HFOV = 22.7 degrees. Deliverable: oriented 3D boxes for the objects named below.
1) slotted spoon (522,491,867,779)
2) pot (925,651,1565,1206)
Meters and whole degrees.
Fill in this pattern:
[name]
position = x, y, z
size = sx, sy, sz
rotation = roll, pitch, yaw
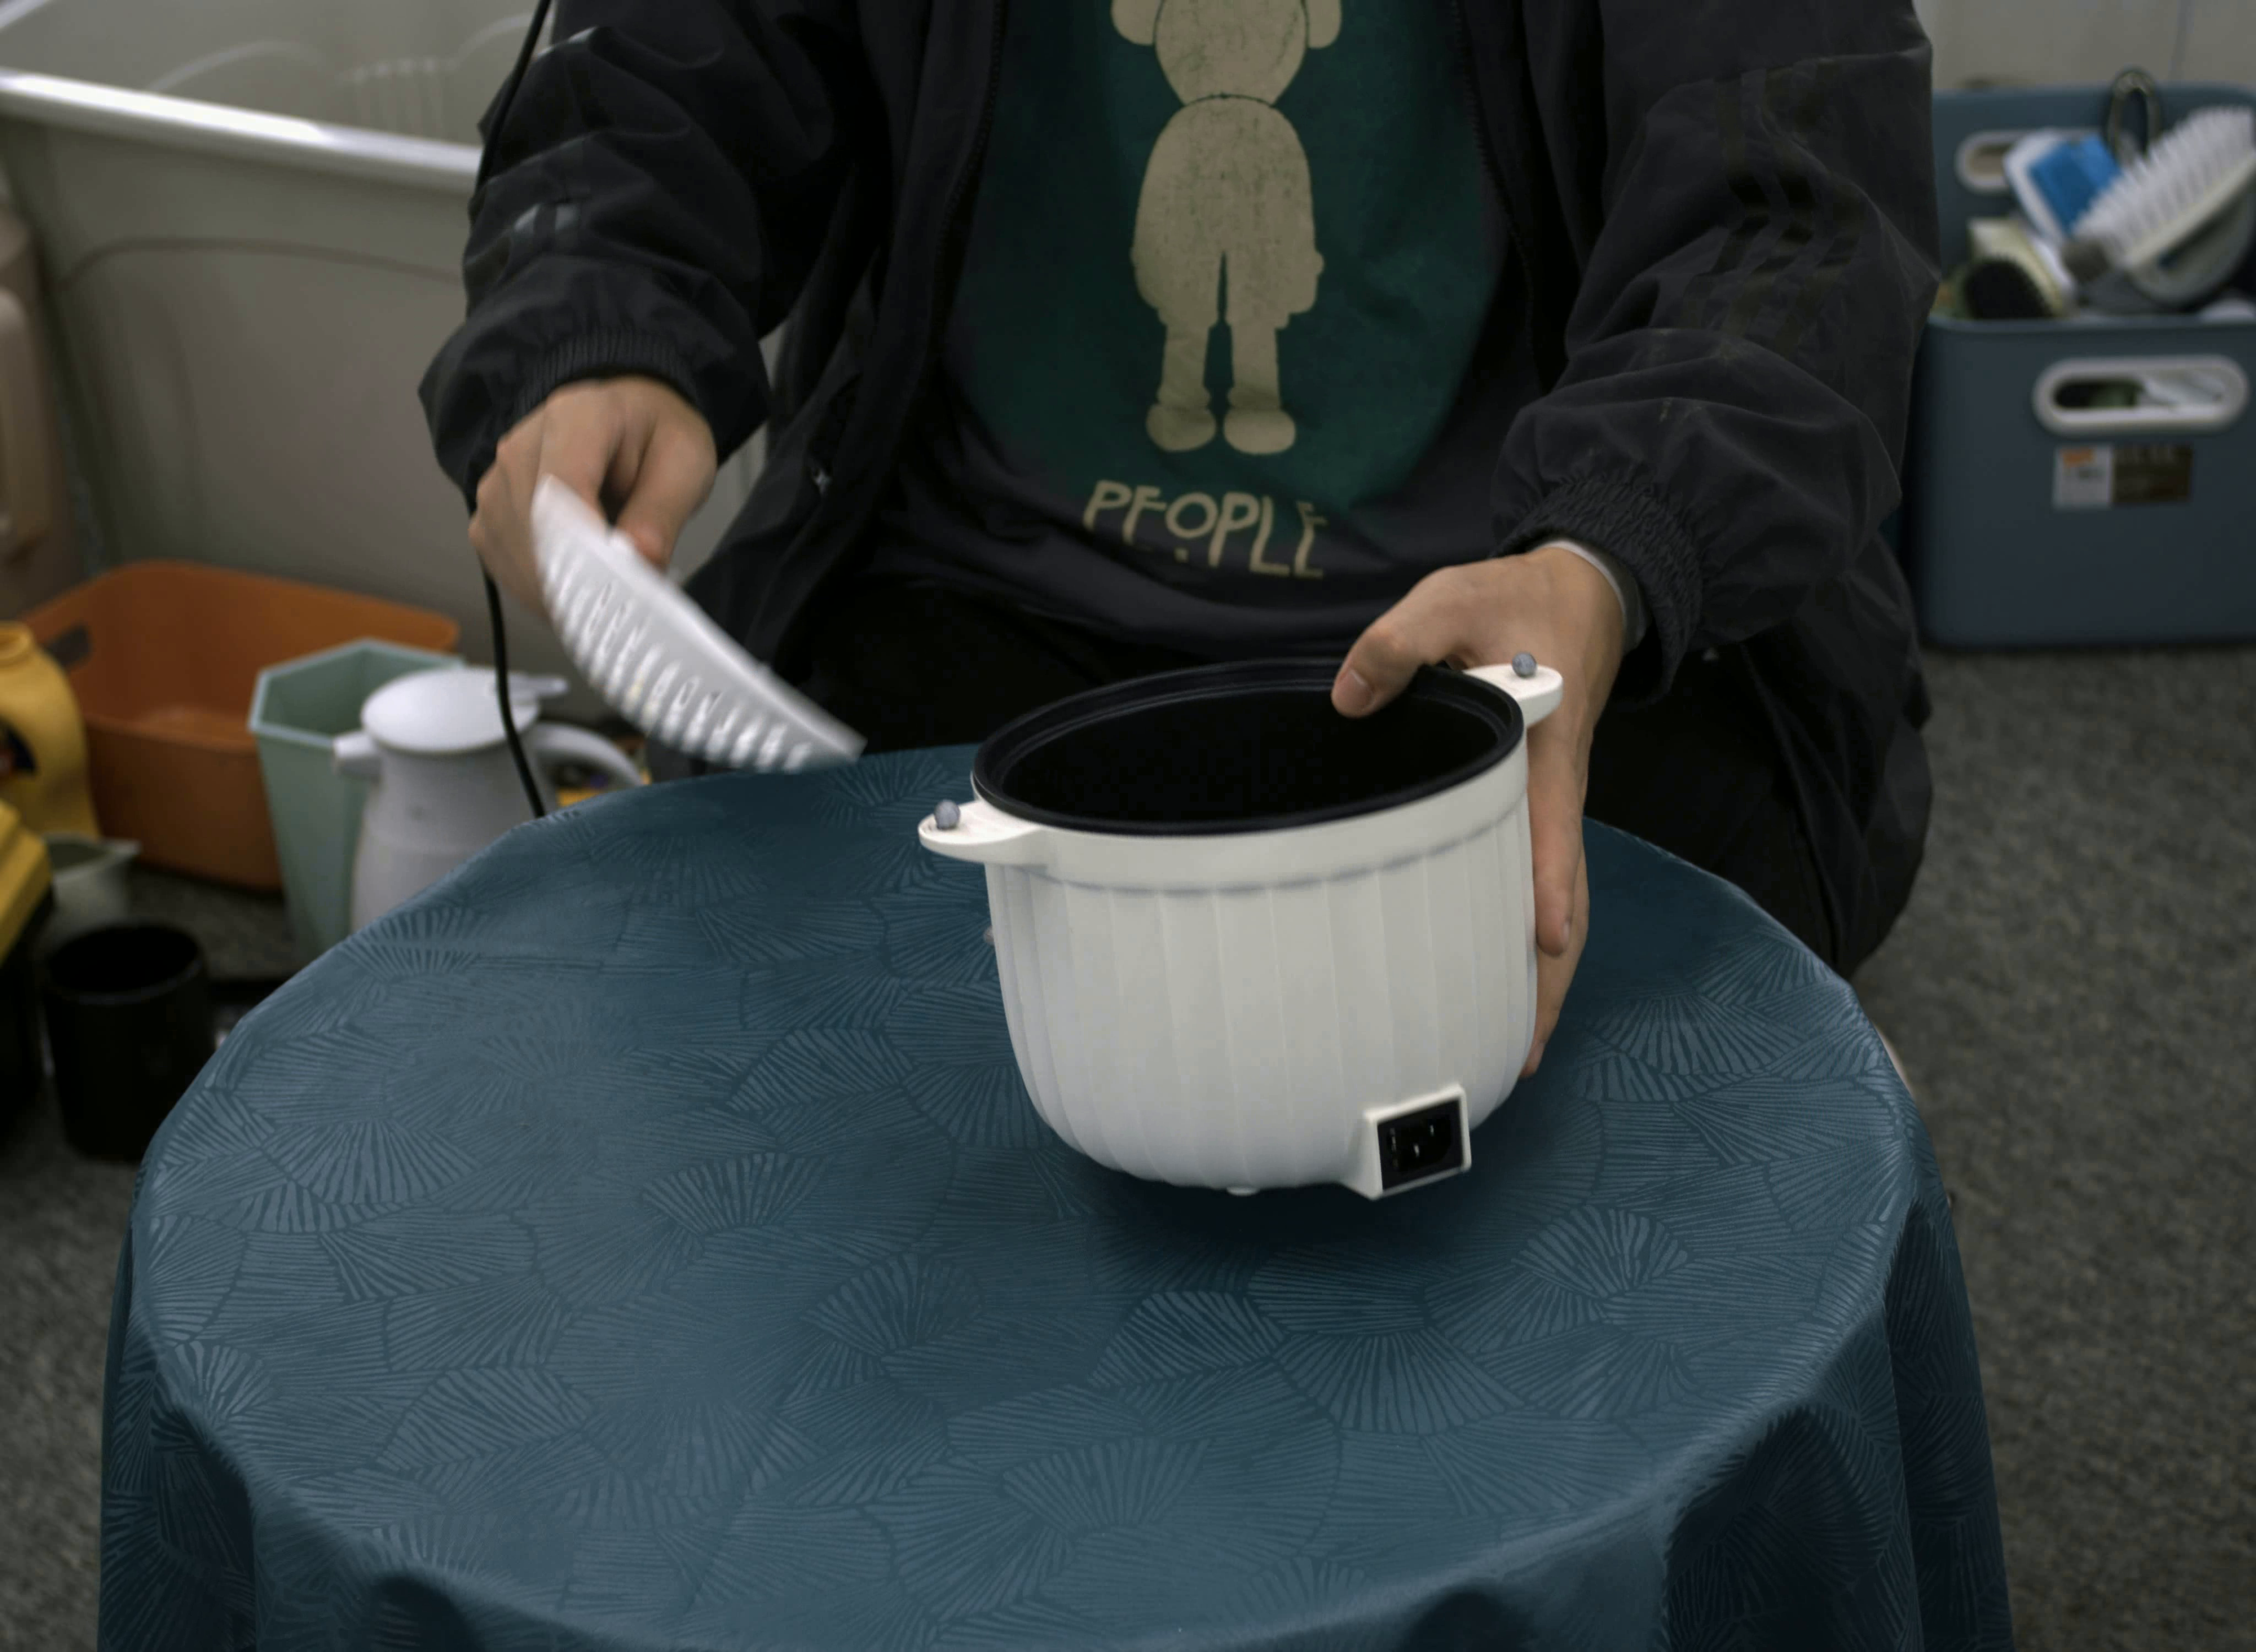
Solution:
[slotted spoon]
position = -0.169, -0.071, 1.905
size = 0.136, 0.050, 0.349
rotation = 39, 3, -15
[pot]
position = 0.041, 0.033, 1.849
size = 0.242, 0.141, 0.190
rotation = -14, 23, -28
